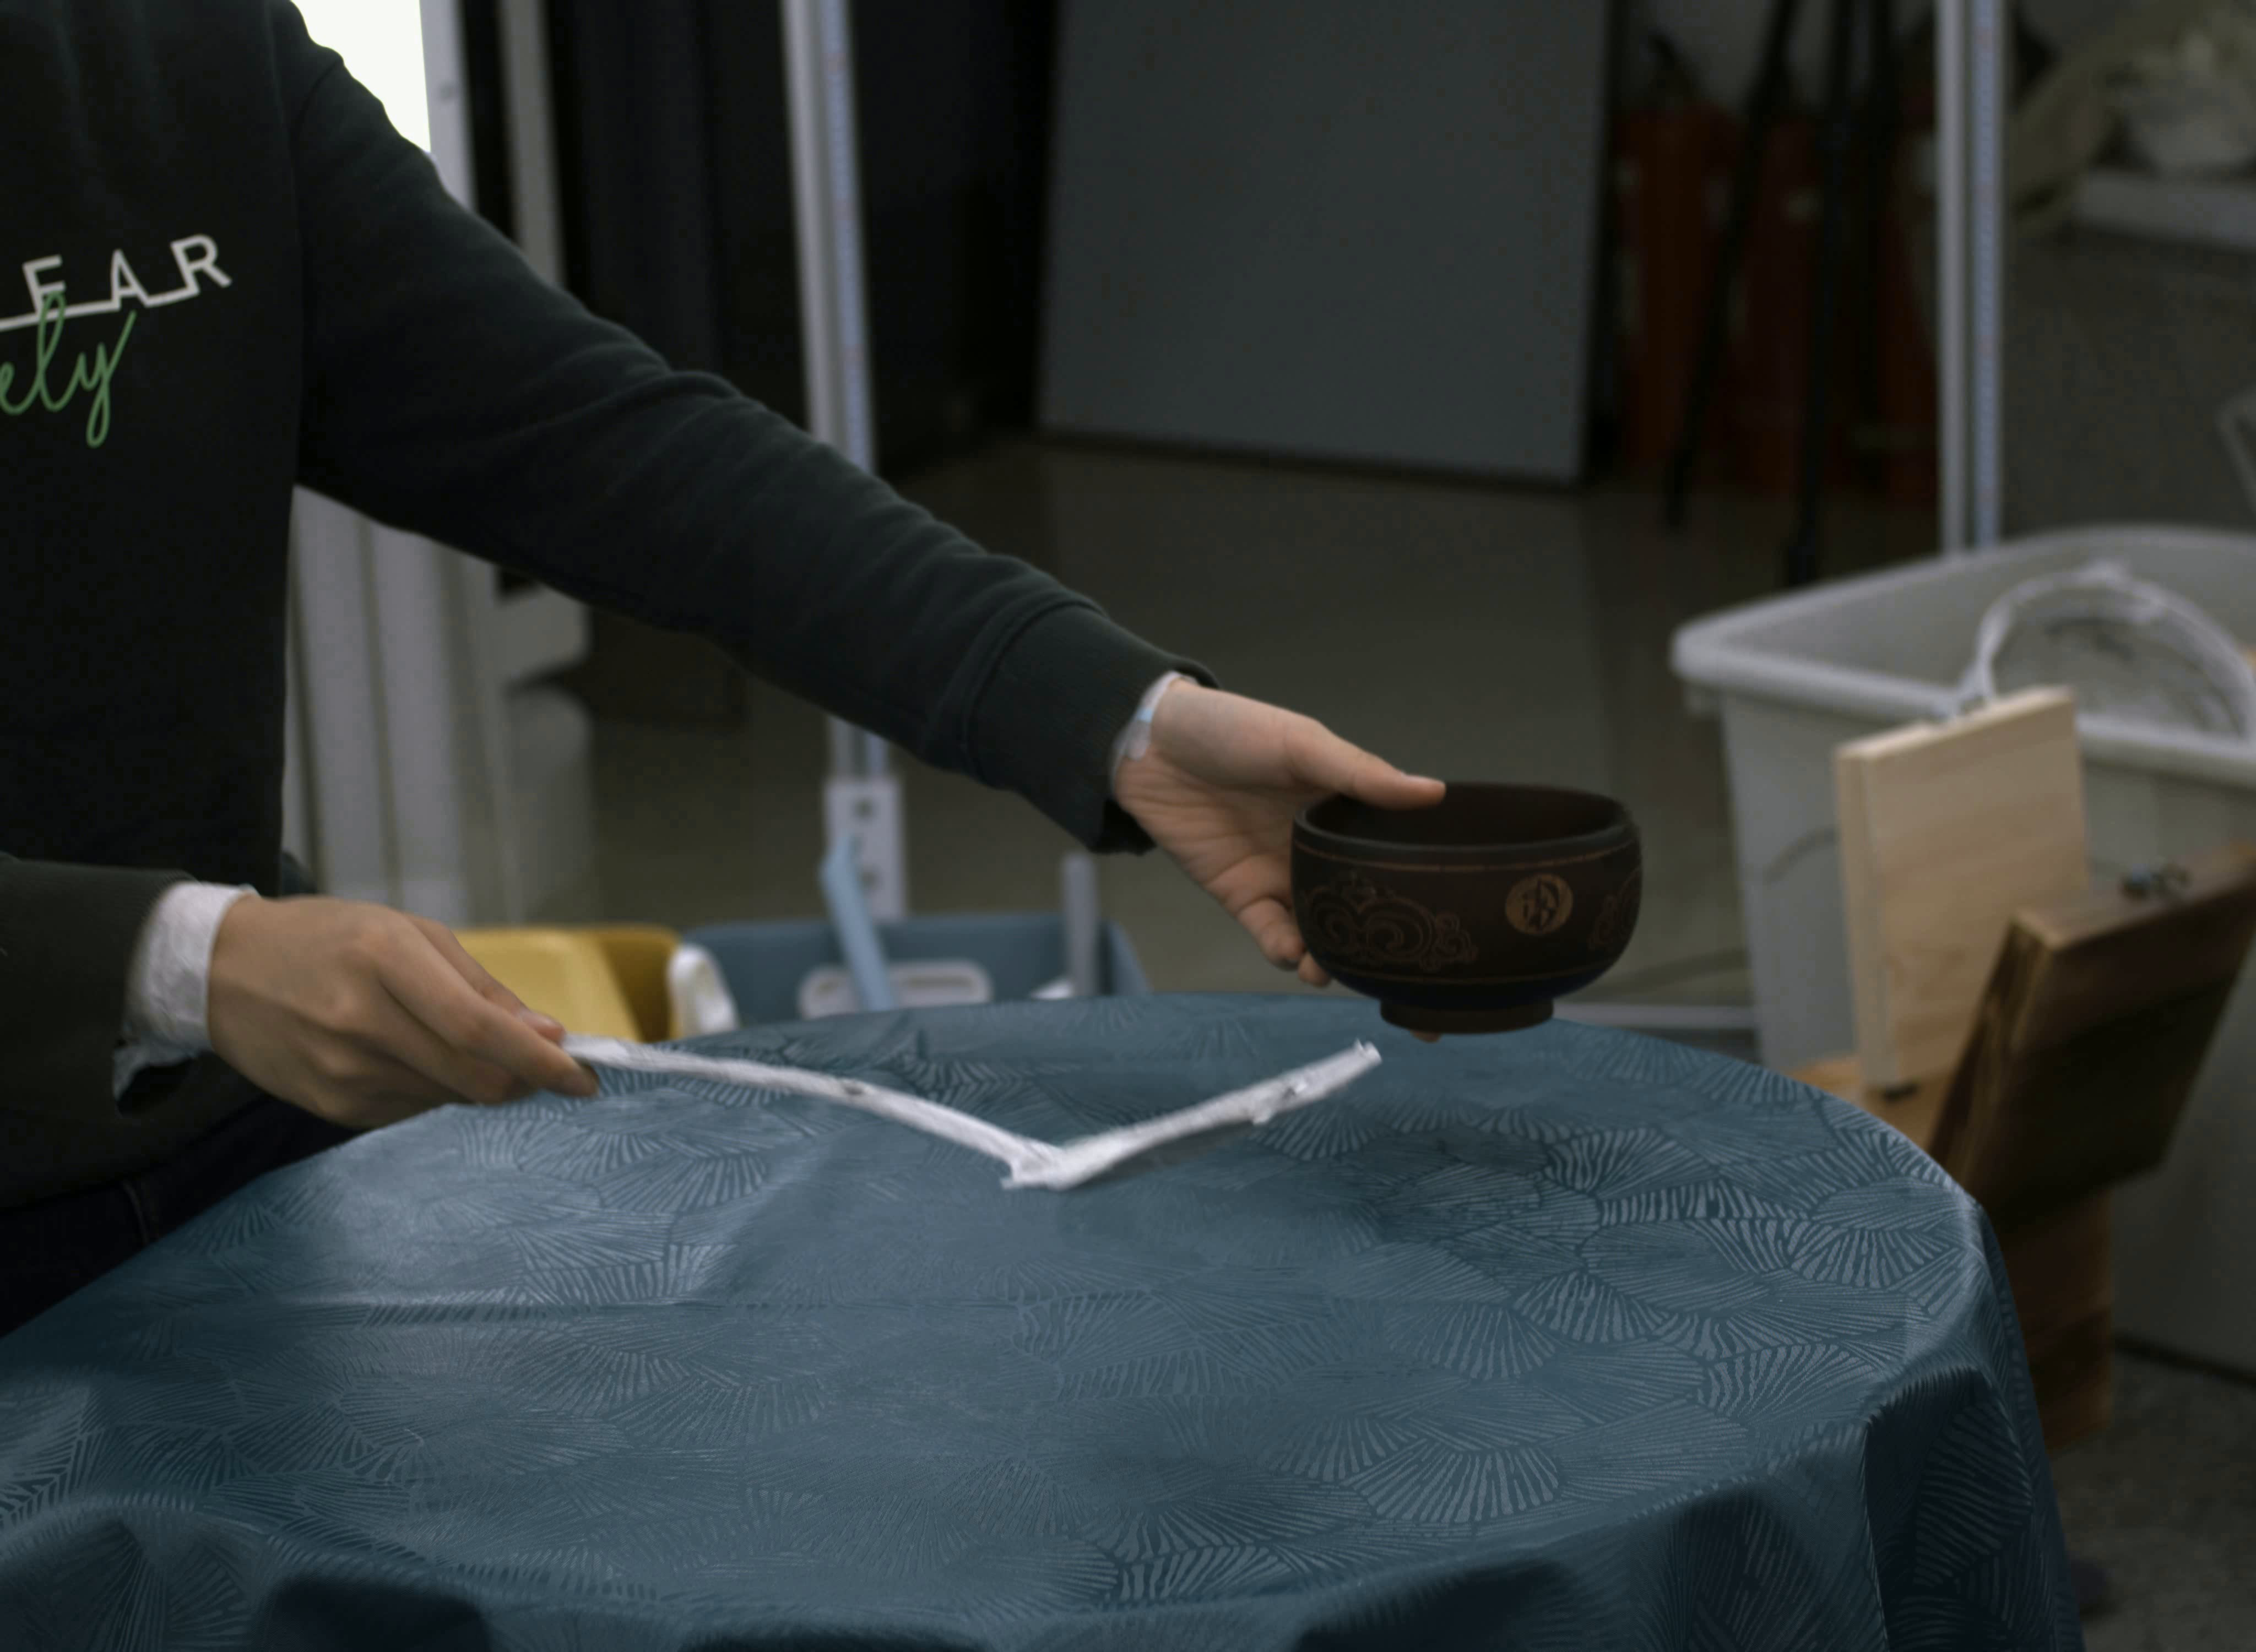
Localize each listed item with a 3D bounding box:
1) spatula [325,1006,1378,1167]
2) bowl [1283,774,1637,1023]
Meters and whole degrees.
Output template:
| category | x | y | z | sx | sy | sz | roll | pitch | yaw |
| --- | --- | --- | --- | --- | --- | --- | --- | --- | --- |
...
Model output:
| category | x | y | z | sx | sy | sz | roll | pitch | yaw |
| --- | --- | --- | --- | --- | --- | --- | --- | --- | --- |
| spatula | -0.098 | 0.063 | 1.554 | 0.366 | 0.045 | 0.097 | 7 | 16 | 32 |
| bowl | 0.109 | 0.025 | 1.760 | 0.116 | 0.071 | 0.118 | -2 | 8 | -1 |
